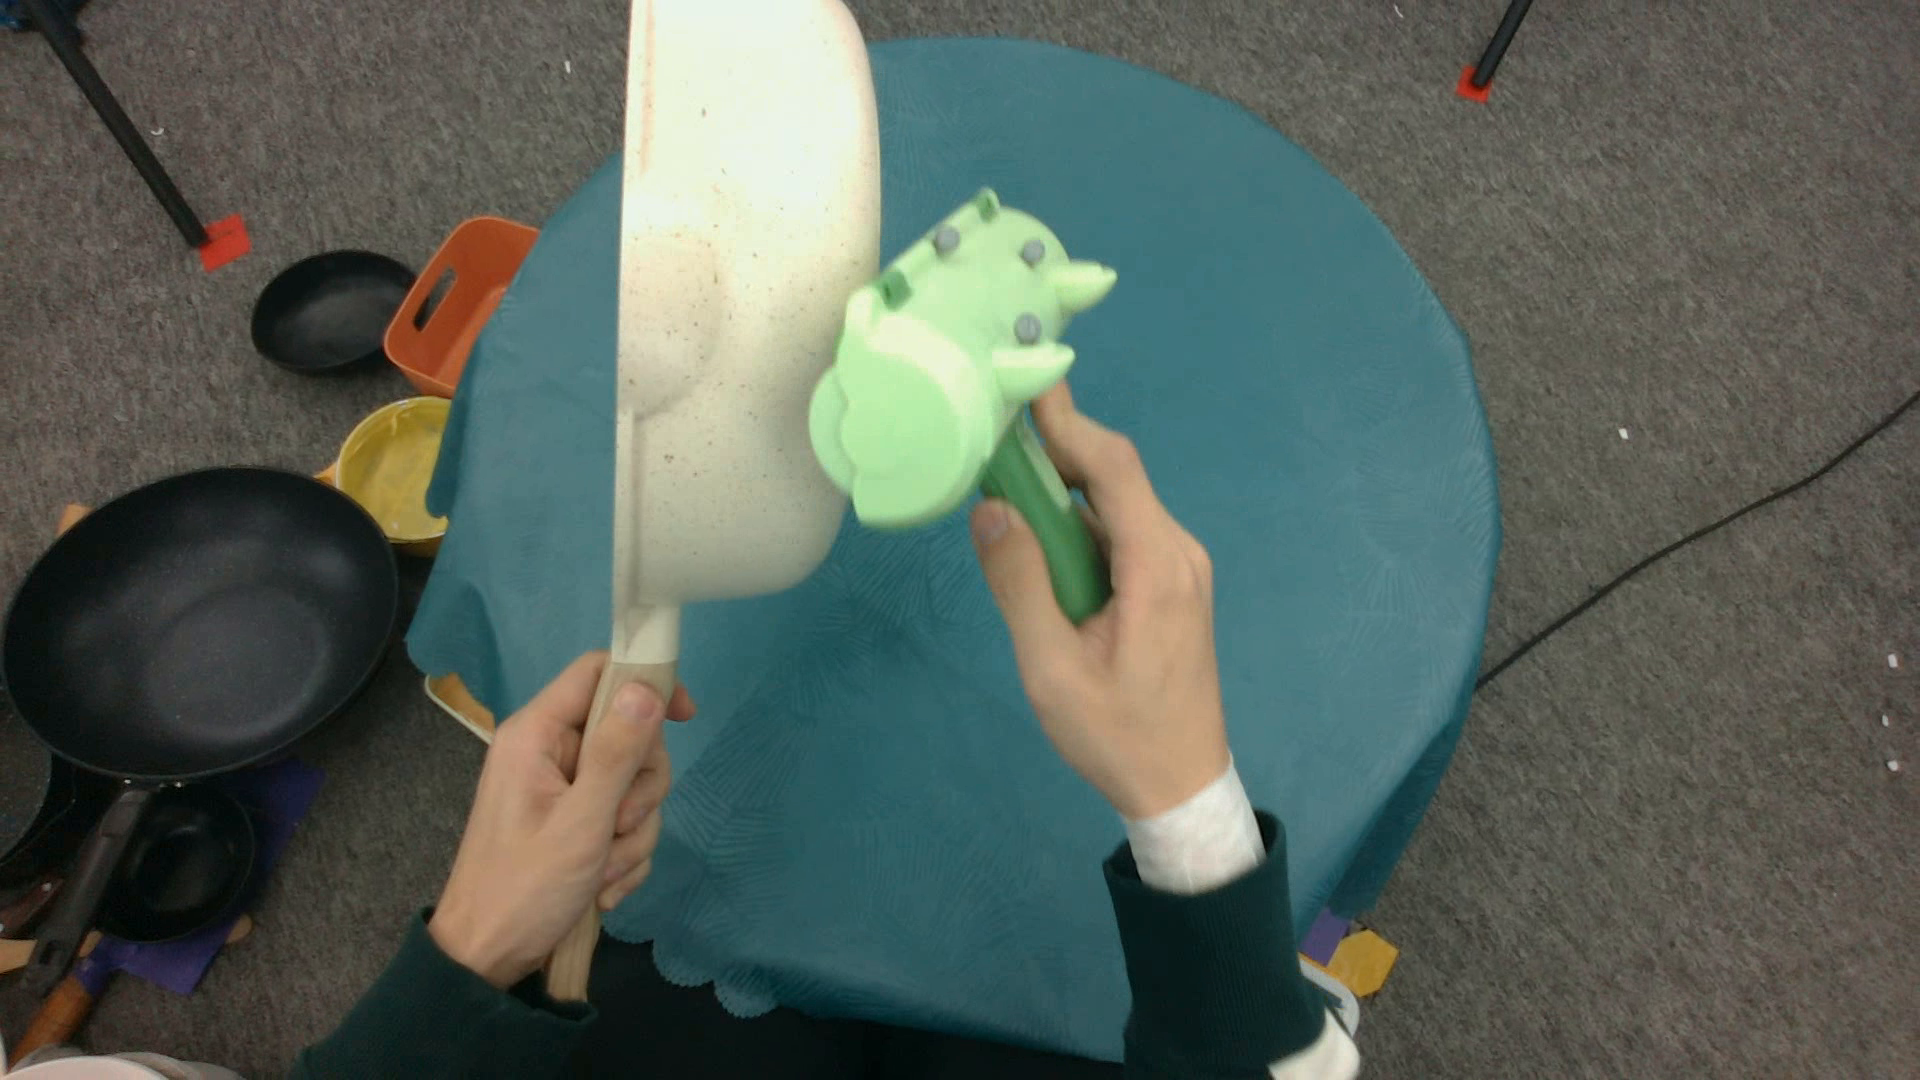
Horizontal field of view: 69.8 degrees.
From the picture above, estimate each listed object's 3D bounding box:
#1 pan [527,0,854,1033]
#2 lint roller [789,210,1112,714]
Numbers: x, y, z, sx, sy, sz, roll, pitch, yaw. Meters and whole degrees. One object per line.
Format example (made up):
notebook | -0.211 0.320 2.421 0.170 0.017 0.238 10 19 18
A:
pan | -0.116 -0.010 0.551 0.102 0.263 0.434 1 101 -18
lint roller | 0.027 -0.024 0.488 0.082 0.199 0.183 -30 103 20
